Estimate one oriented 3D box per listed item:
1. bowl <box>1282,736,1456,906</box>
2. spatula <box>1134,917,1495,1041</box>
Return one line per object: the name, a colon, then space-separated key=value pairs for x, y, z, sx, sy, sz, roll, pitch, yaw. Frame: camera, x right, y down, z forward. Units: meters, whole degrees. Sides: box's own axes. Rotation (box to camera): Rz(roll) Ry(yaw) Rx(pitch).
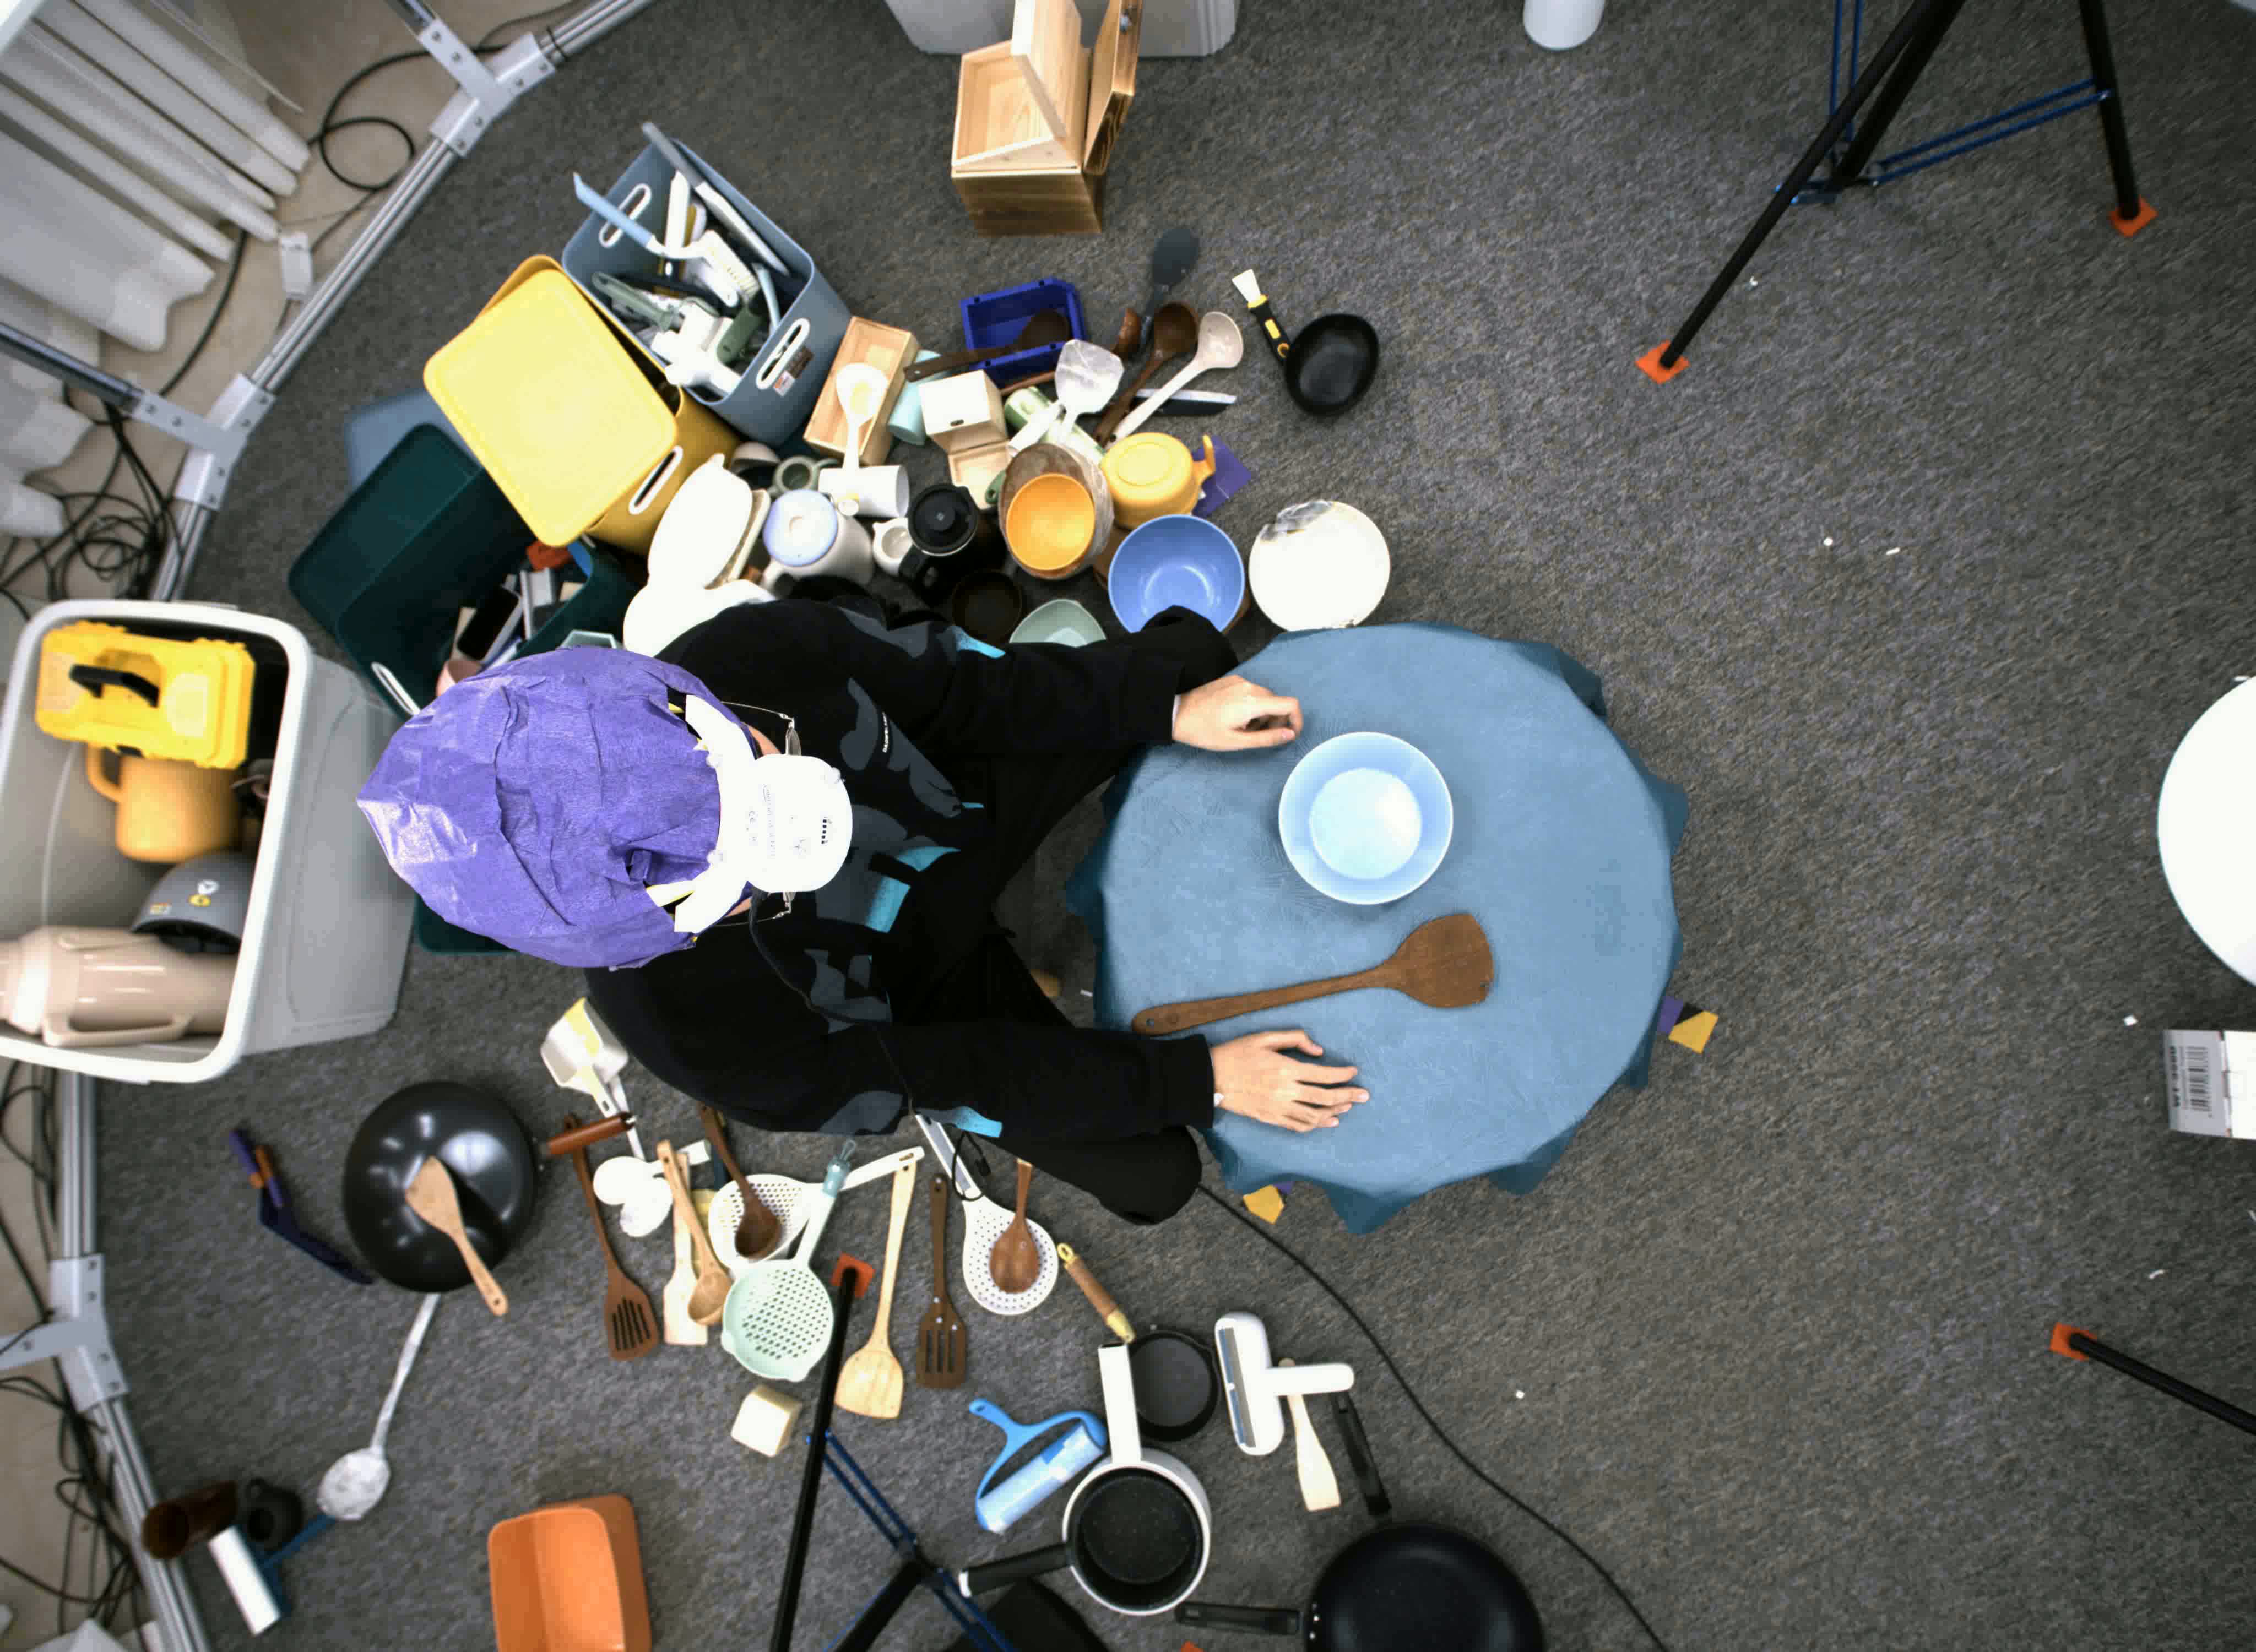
bowl: x=0.251 y=-0.003 z=1.438 sx=0.177 sy=0.070 sz=0.175 roll=-1 pitch=86 yaw=12
spatula: x=0.192 y=0.177 z=1.465 sx=0.388 sy=0.016 sz=0.095 roll=-13 pitch=83 yaw=9
